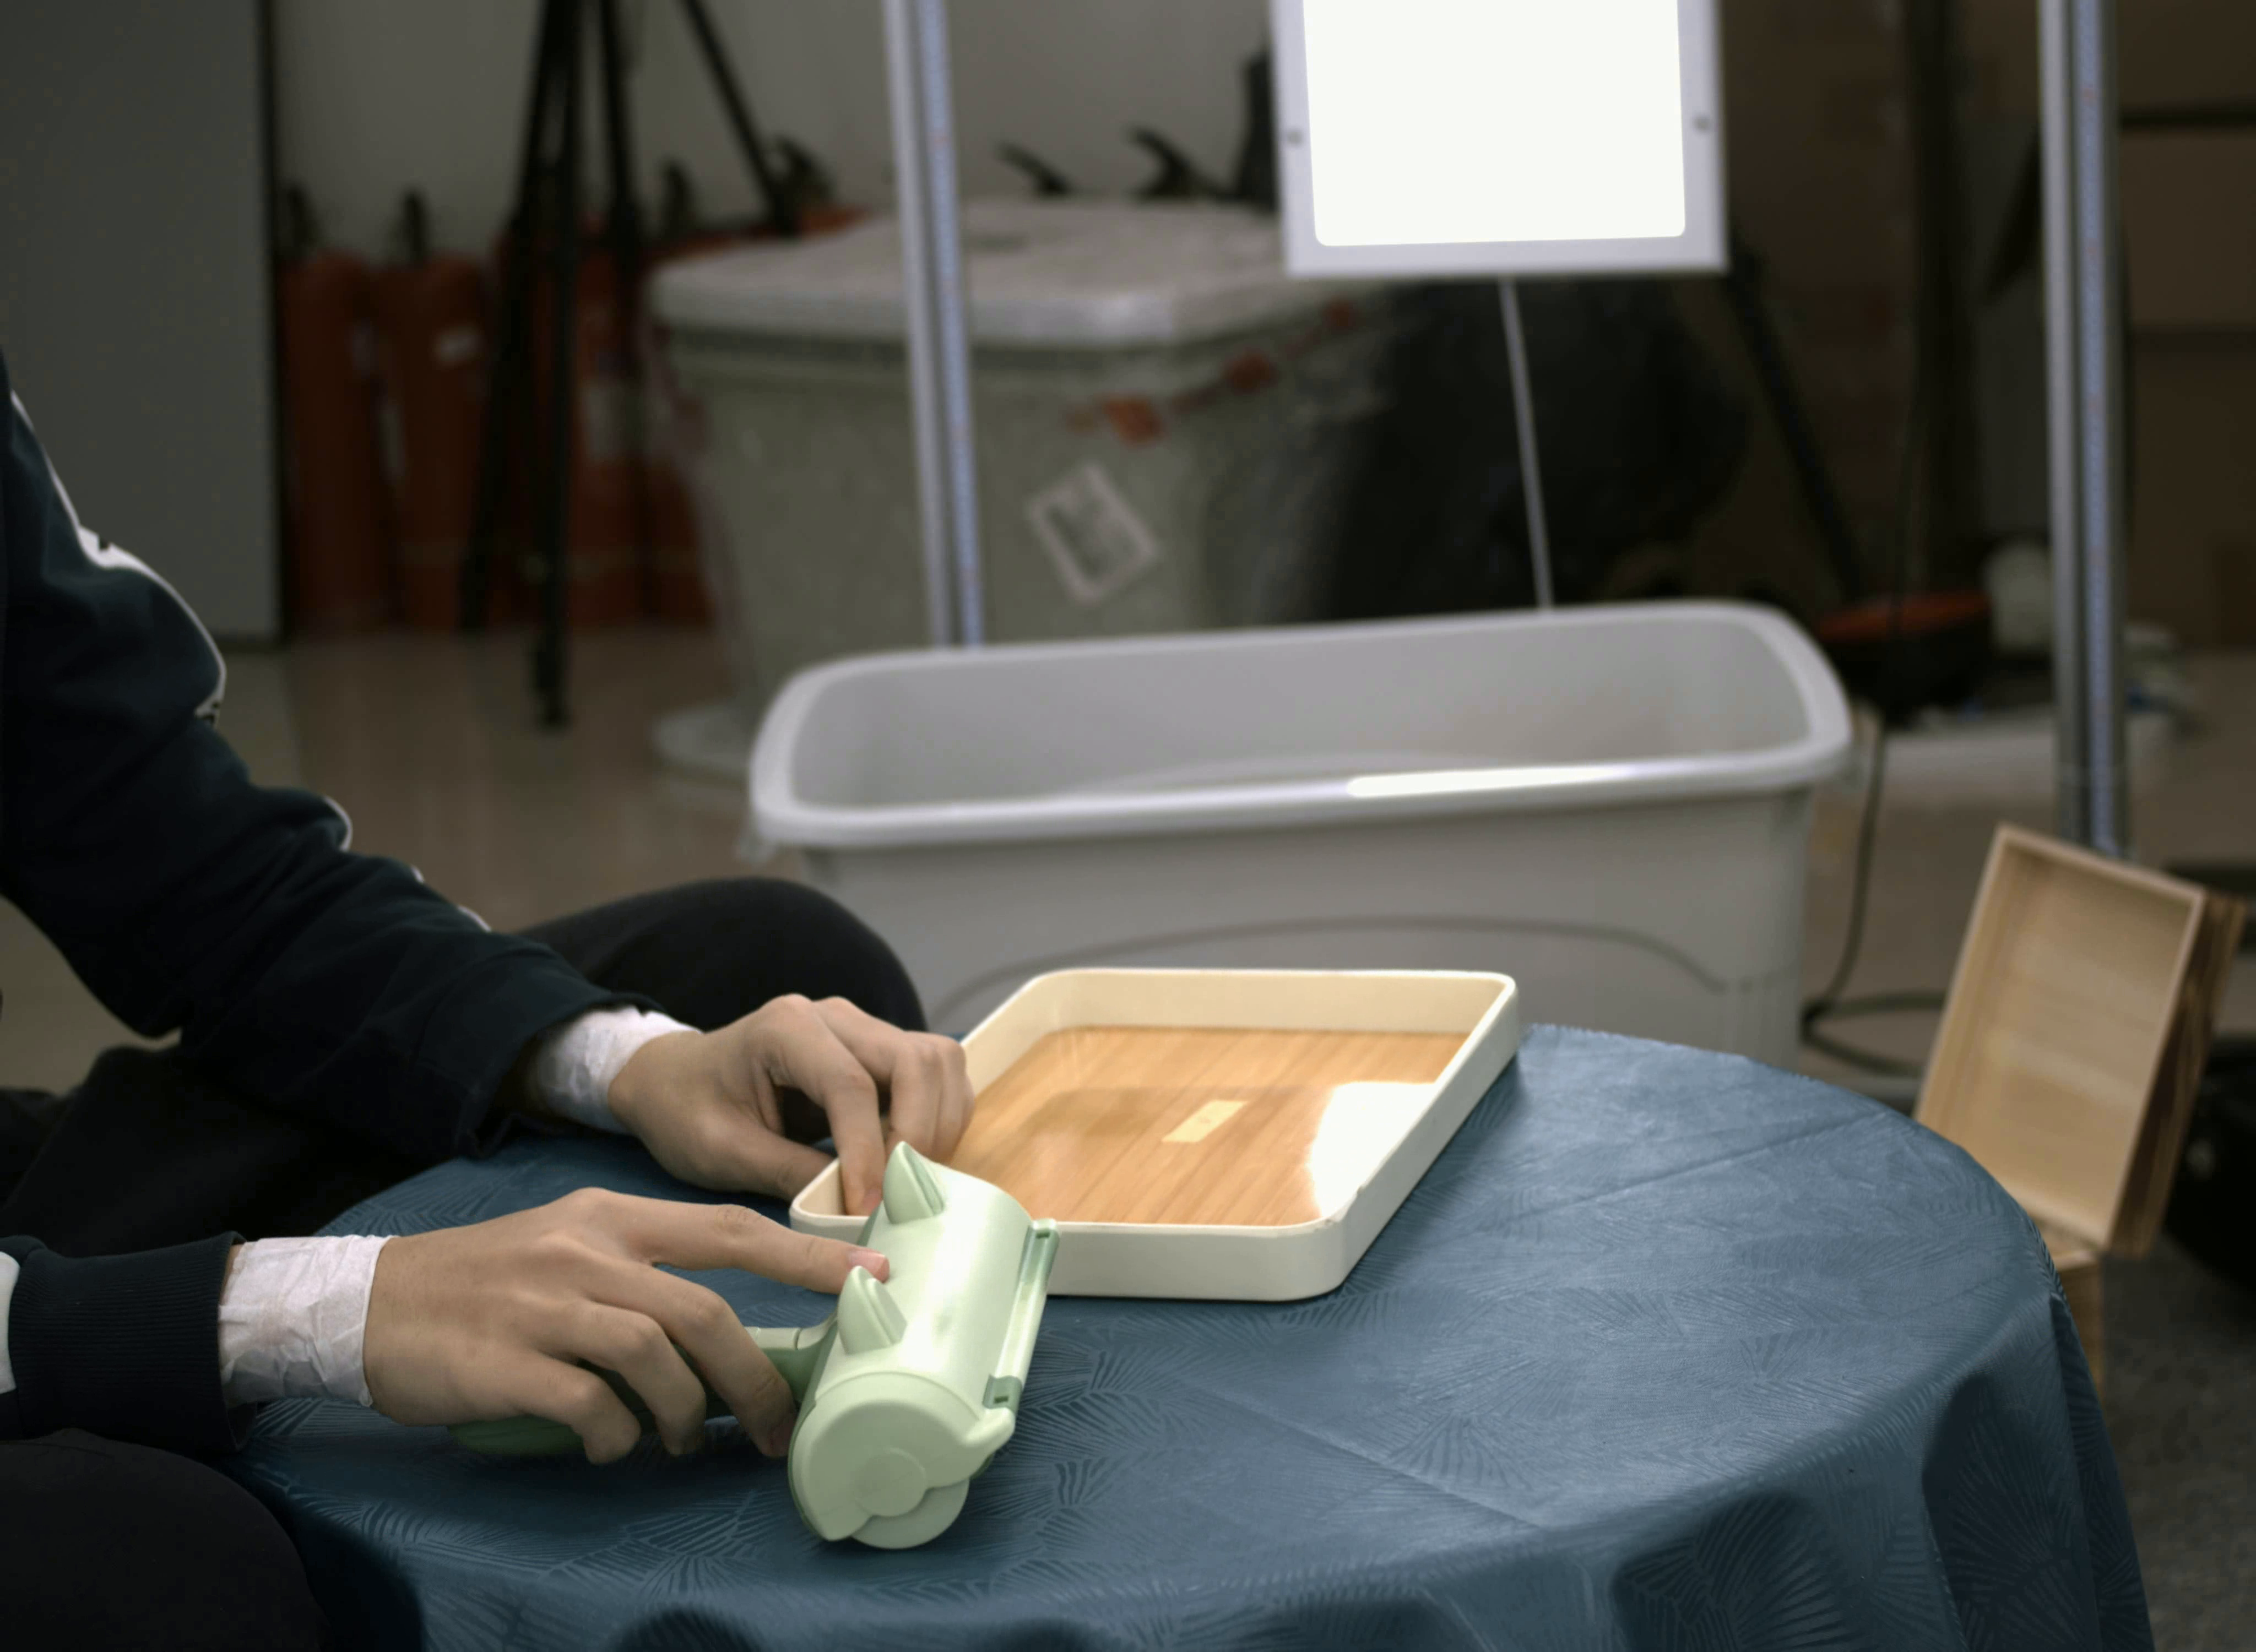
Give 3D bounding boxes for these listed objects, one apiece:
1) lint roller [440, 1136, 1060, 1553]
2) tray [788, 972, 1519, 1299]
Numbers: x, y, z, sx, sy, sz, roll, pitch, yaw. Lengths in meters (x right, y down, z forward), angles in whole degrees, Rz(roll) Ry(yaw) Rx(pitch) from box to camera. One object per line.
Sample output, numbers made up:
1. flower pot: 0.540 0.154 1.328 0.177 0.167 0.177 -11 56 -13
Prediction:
1. lint roller: -0.118 0.150 1.669 0.183 0.082 0.197 1 16 5
2. tray: 0.016 0.105 1.923 0.194 0.027 0.295 -1 14 19
